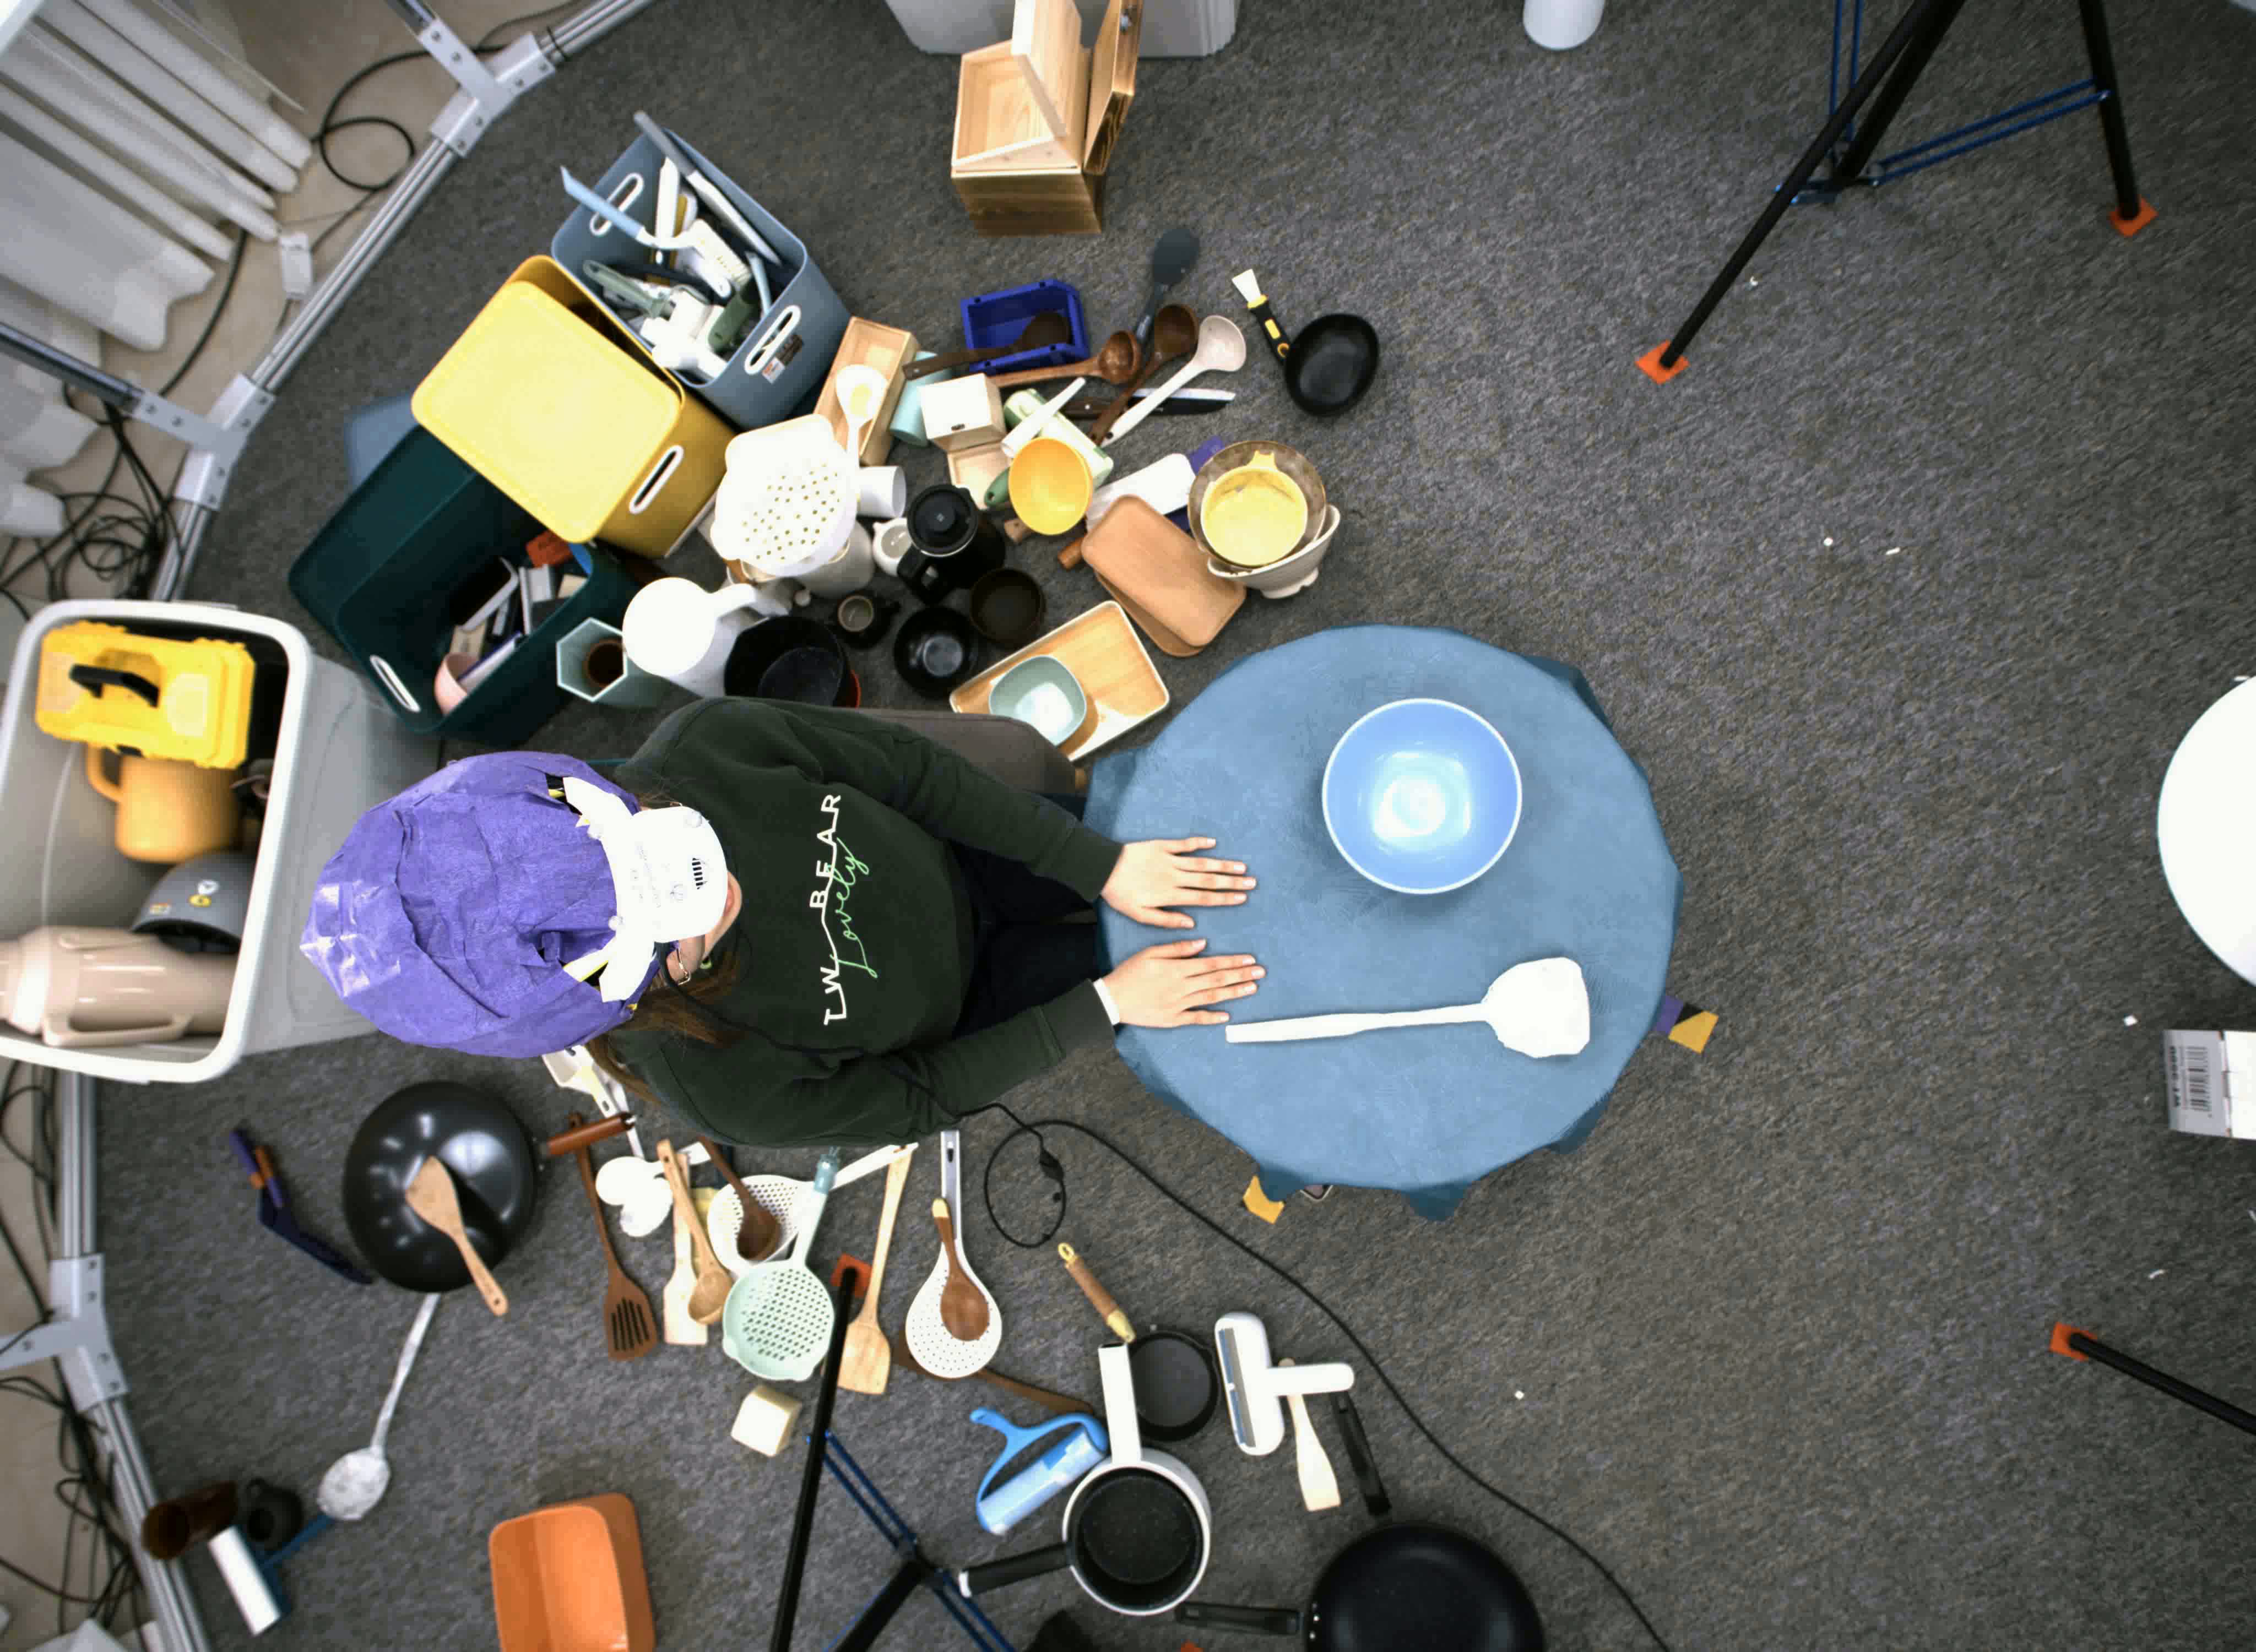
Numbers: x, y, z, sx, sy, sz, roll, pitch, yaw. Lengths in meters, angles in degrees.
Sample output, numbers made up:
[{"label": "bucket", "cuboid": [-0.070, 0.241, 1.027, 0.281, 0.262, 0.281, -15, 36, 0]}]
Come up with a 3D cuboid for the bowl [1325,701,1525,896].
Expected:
[{"label": "bowl", "cuboid": [0.302, -0.025, 1.417, 0.197, 0.095, 0.195, -1, 87, 9]}]

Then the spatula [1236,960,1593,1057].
[{"label": "spatula", "cuboid": [0.291, 0.197, 1.433, 0.366, 0.045, 0.098, -5, 87, 10]}]
